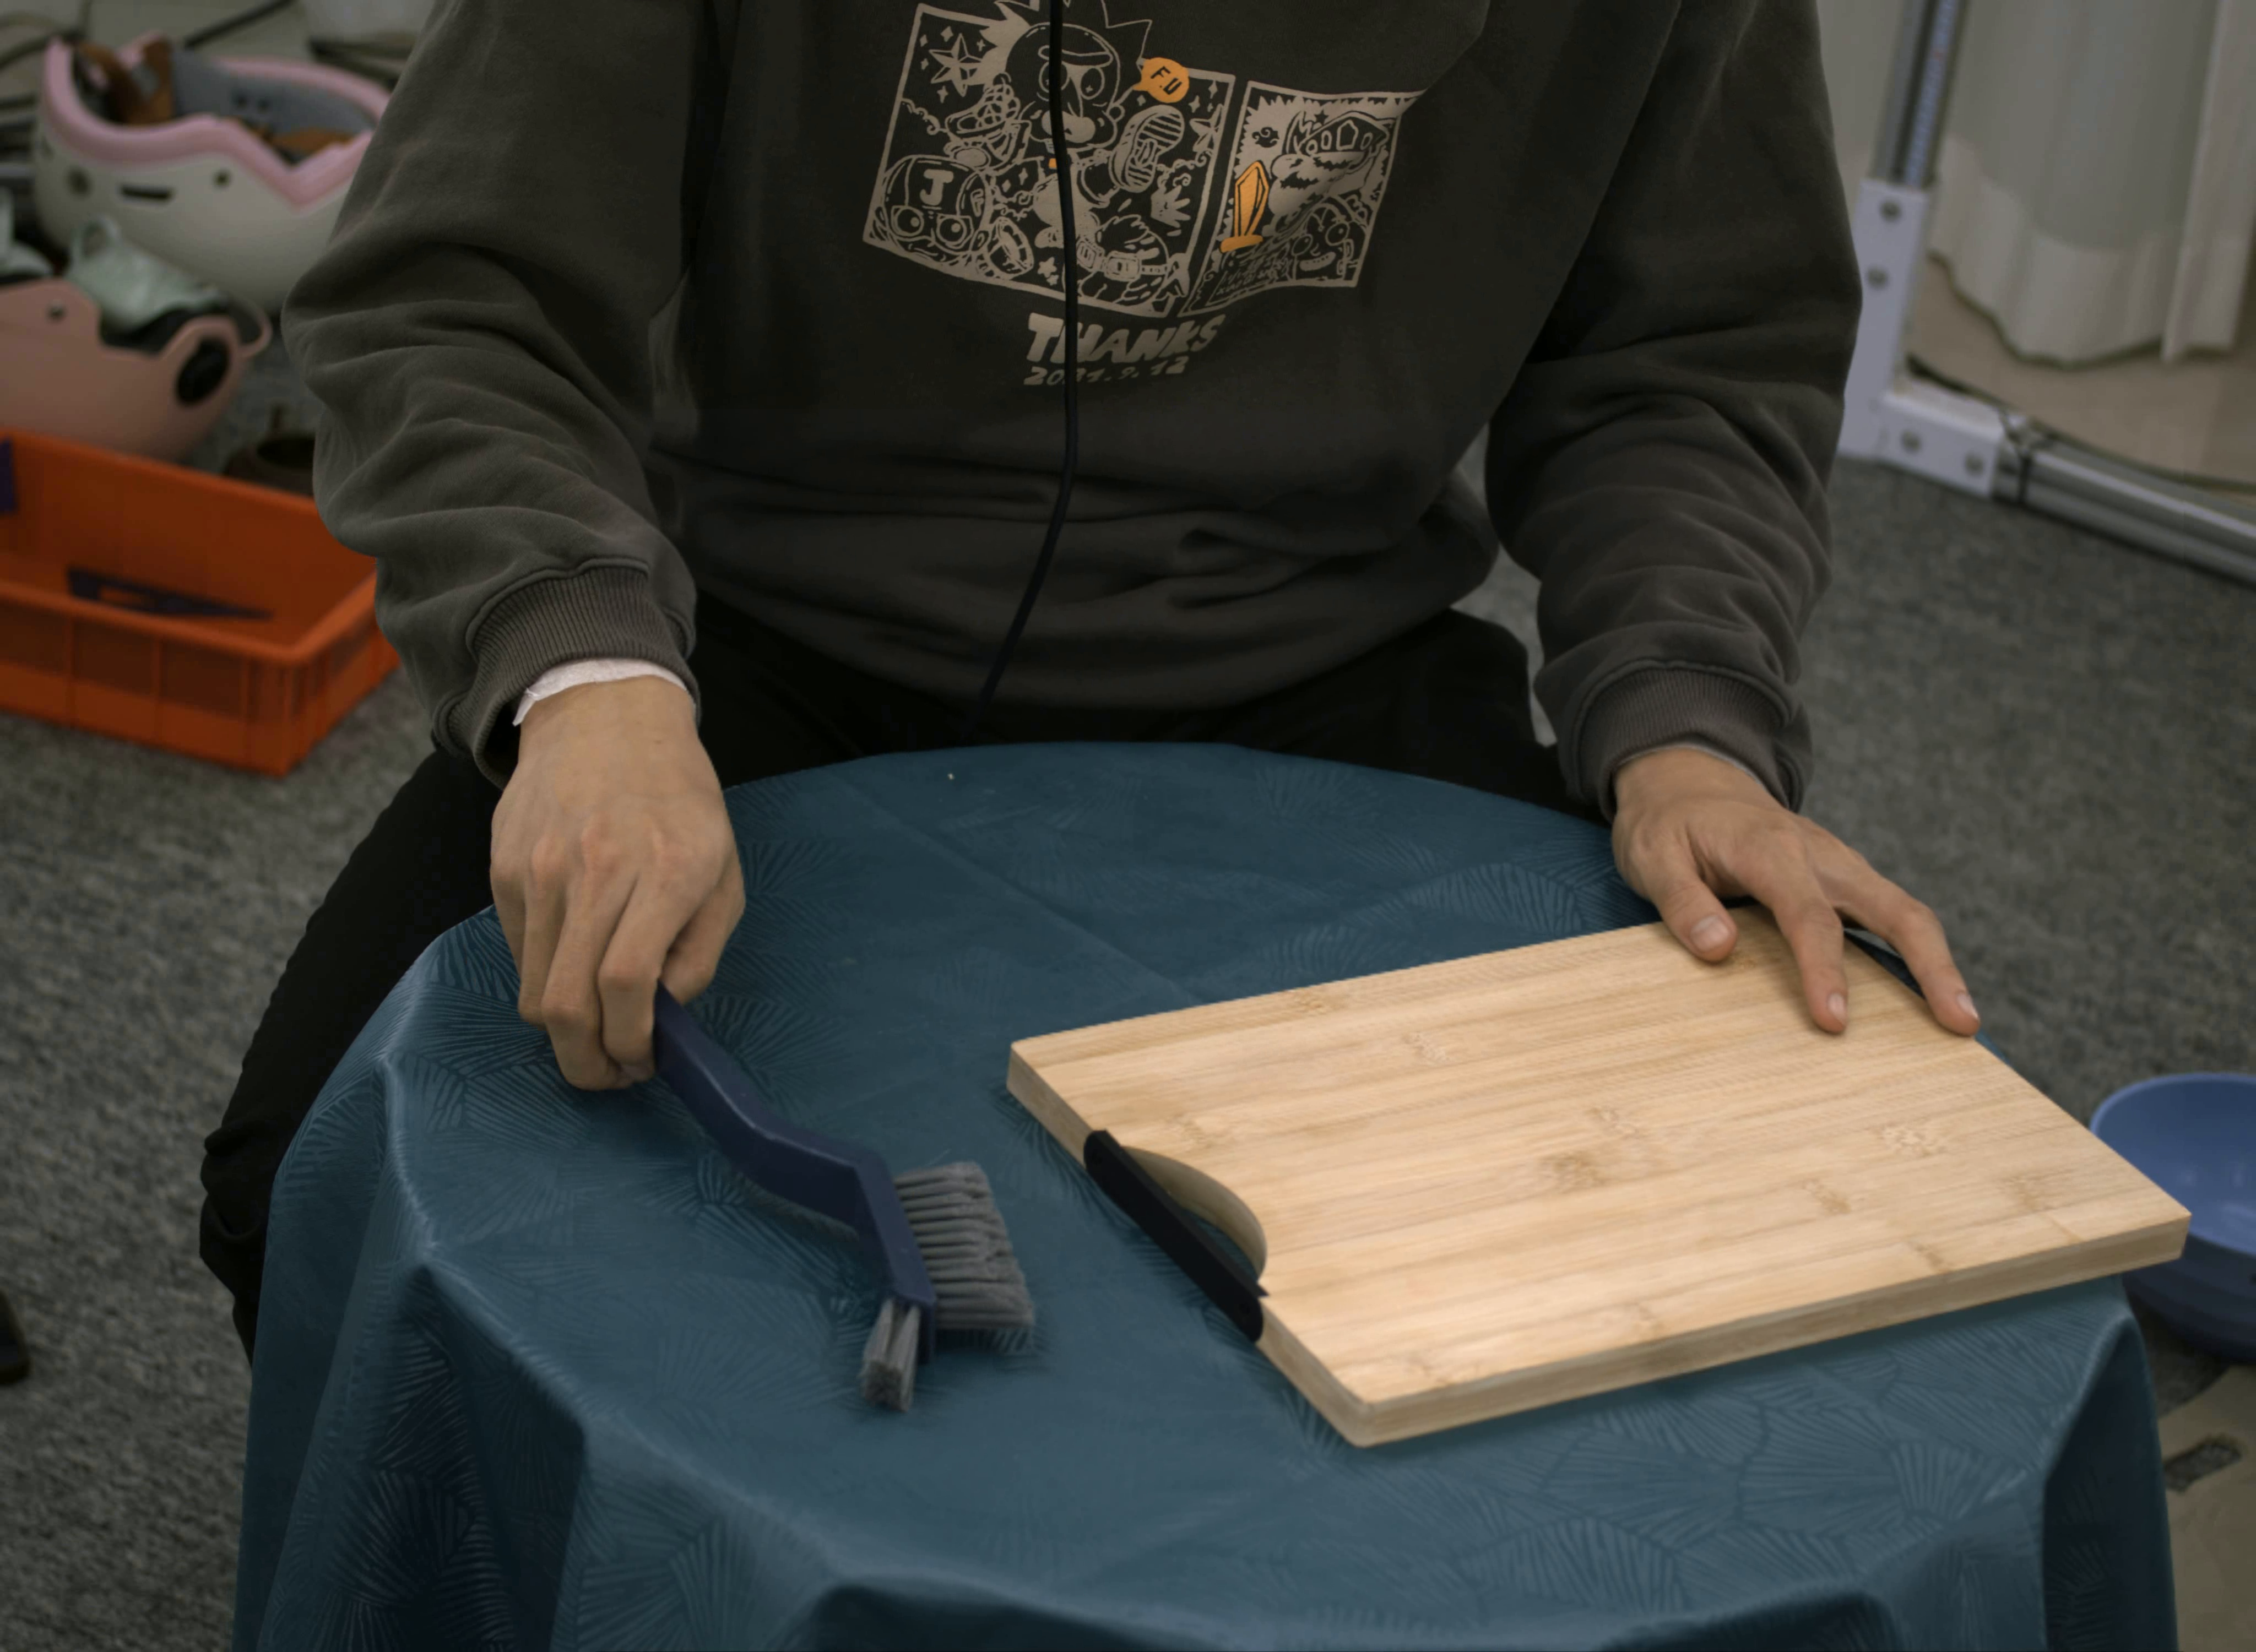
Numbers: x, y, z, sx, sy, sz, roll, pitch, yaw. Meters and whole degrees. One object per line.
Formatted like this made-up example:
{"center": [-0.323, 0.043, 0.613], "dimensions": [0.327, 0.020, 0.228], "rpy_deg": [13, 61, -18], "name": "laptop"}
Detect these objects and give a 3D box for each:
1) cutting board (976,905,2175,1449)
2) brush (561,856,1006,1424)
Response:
{"center": [0.156, 0.114, 1.840], "dimensions": [0.346, 0.023, 0.253], "rpy_deg": [-9, 30, -29], "name": "cutting board"}
{"center": [-0.135, 0.098, 1.770], "dimensions": [0.095, 0.033, 0.275], "rpy_deg": [-24, 43, -32], "name": "brush"}
